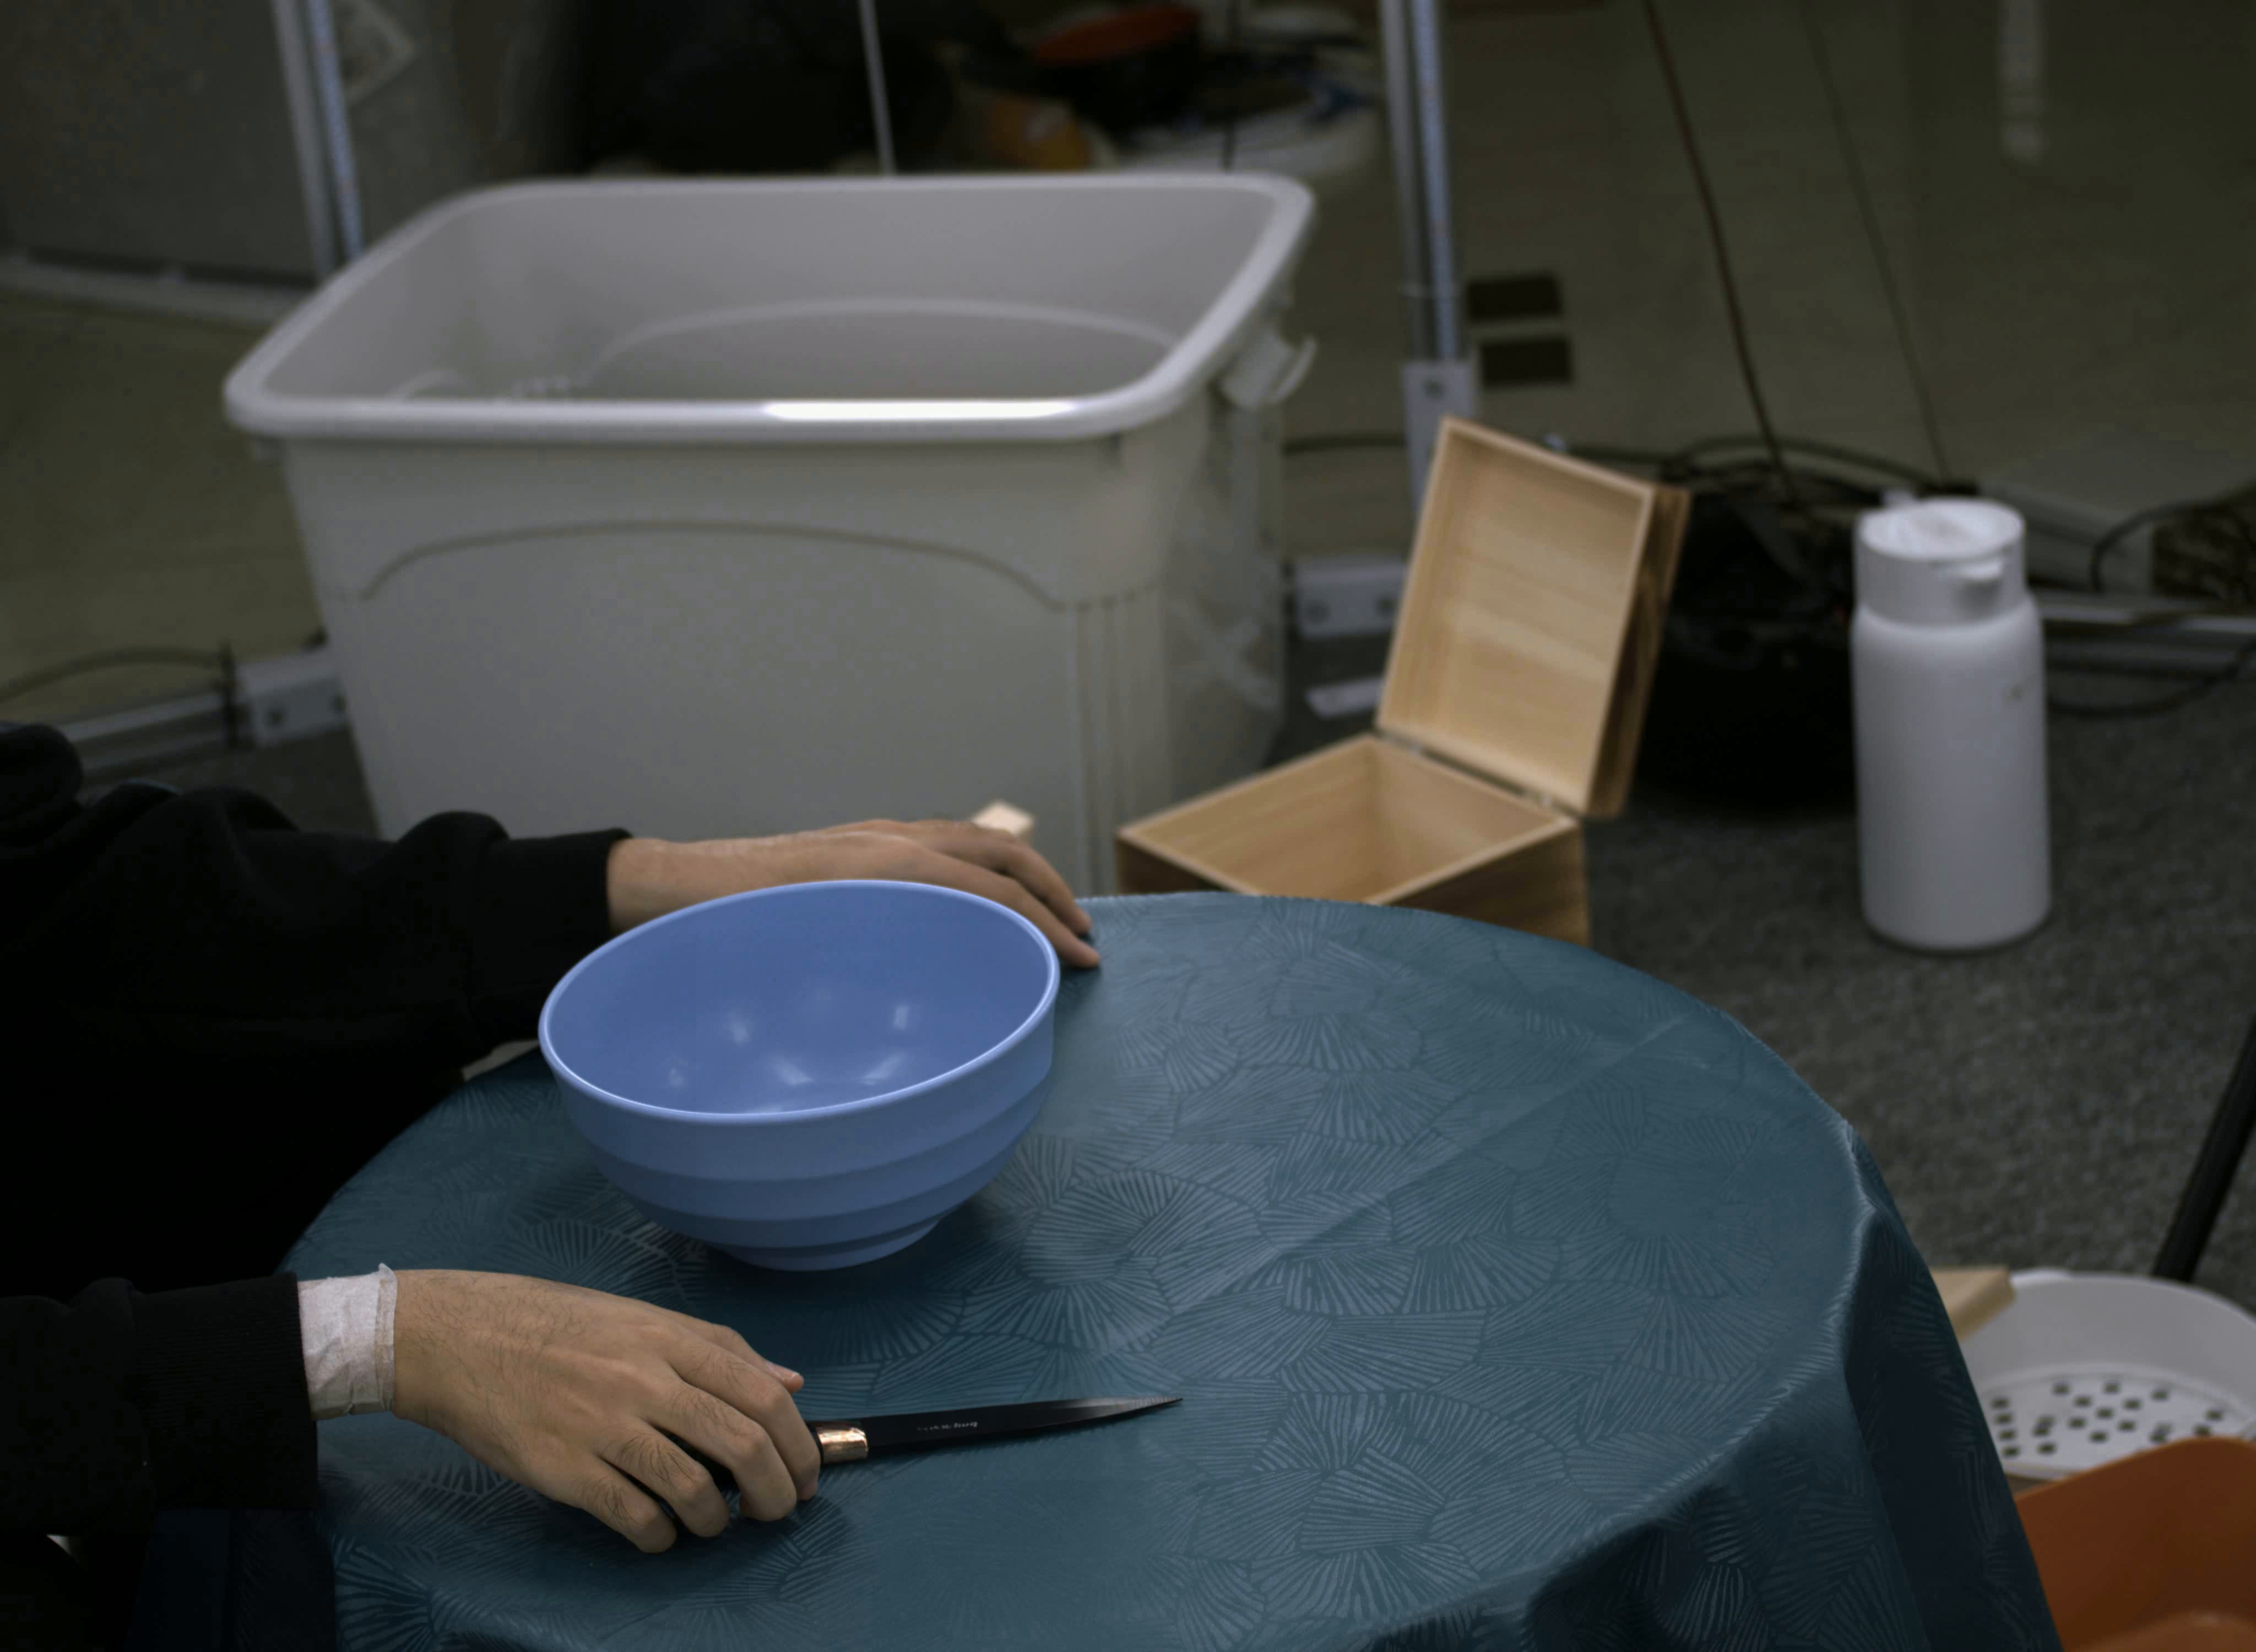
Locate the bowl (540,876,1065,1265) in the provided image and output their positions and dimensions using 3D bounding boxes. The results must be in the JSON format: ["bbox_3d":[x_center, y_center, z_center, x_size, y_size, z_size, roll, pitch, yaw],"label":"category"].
[{"bbox_3d":[-0.119,0.102,2.134,0.196,0.097,0.193,-2,25,1],"label":"bowl"}]

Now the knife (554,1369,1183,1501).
[{"bbox_3d":[-0.090,0.213,1.997,0.225,0.017,0.026,-8,23,-6],"label":"knife"}]
